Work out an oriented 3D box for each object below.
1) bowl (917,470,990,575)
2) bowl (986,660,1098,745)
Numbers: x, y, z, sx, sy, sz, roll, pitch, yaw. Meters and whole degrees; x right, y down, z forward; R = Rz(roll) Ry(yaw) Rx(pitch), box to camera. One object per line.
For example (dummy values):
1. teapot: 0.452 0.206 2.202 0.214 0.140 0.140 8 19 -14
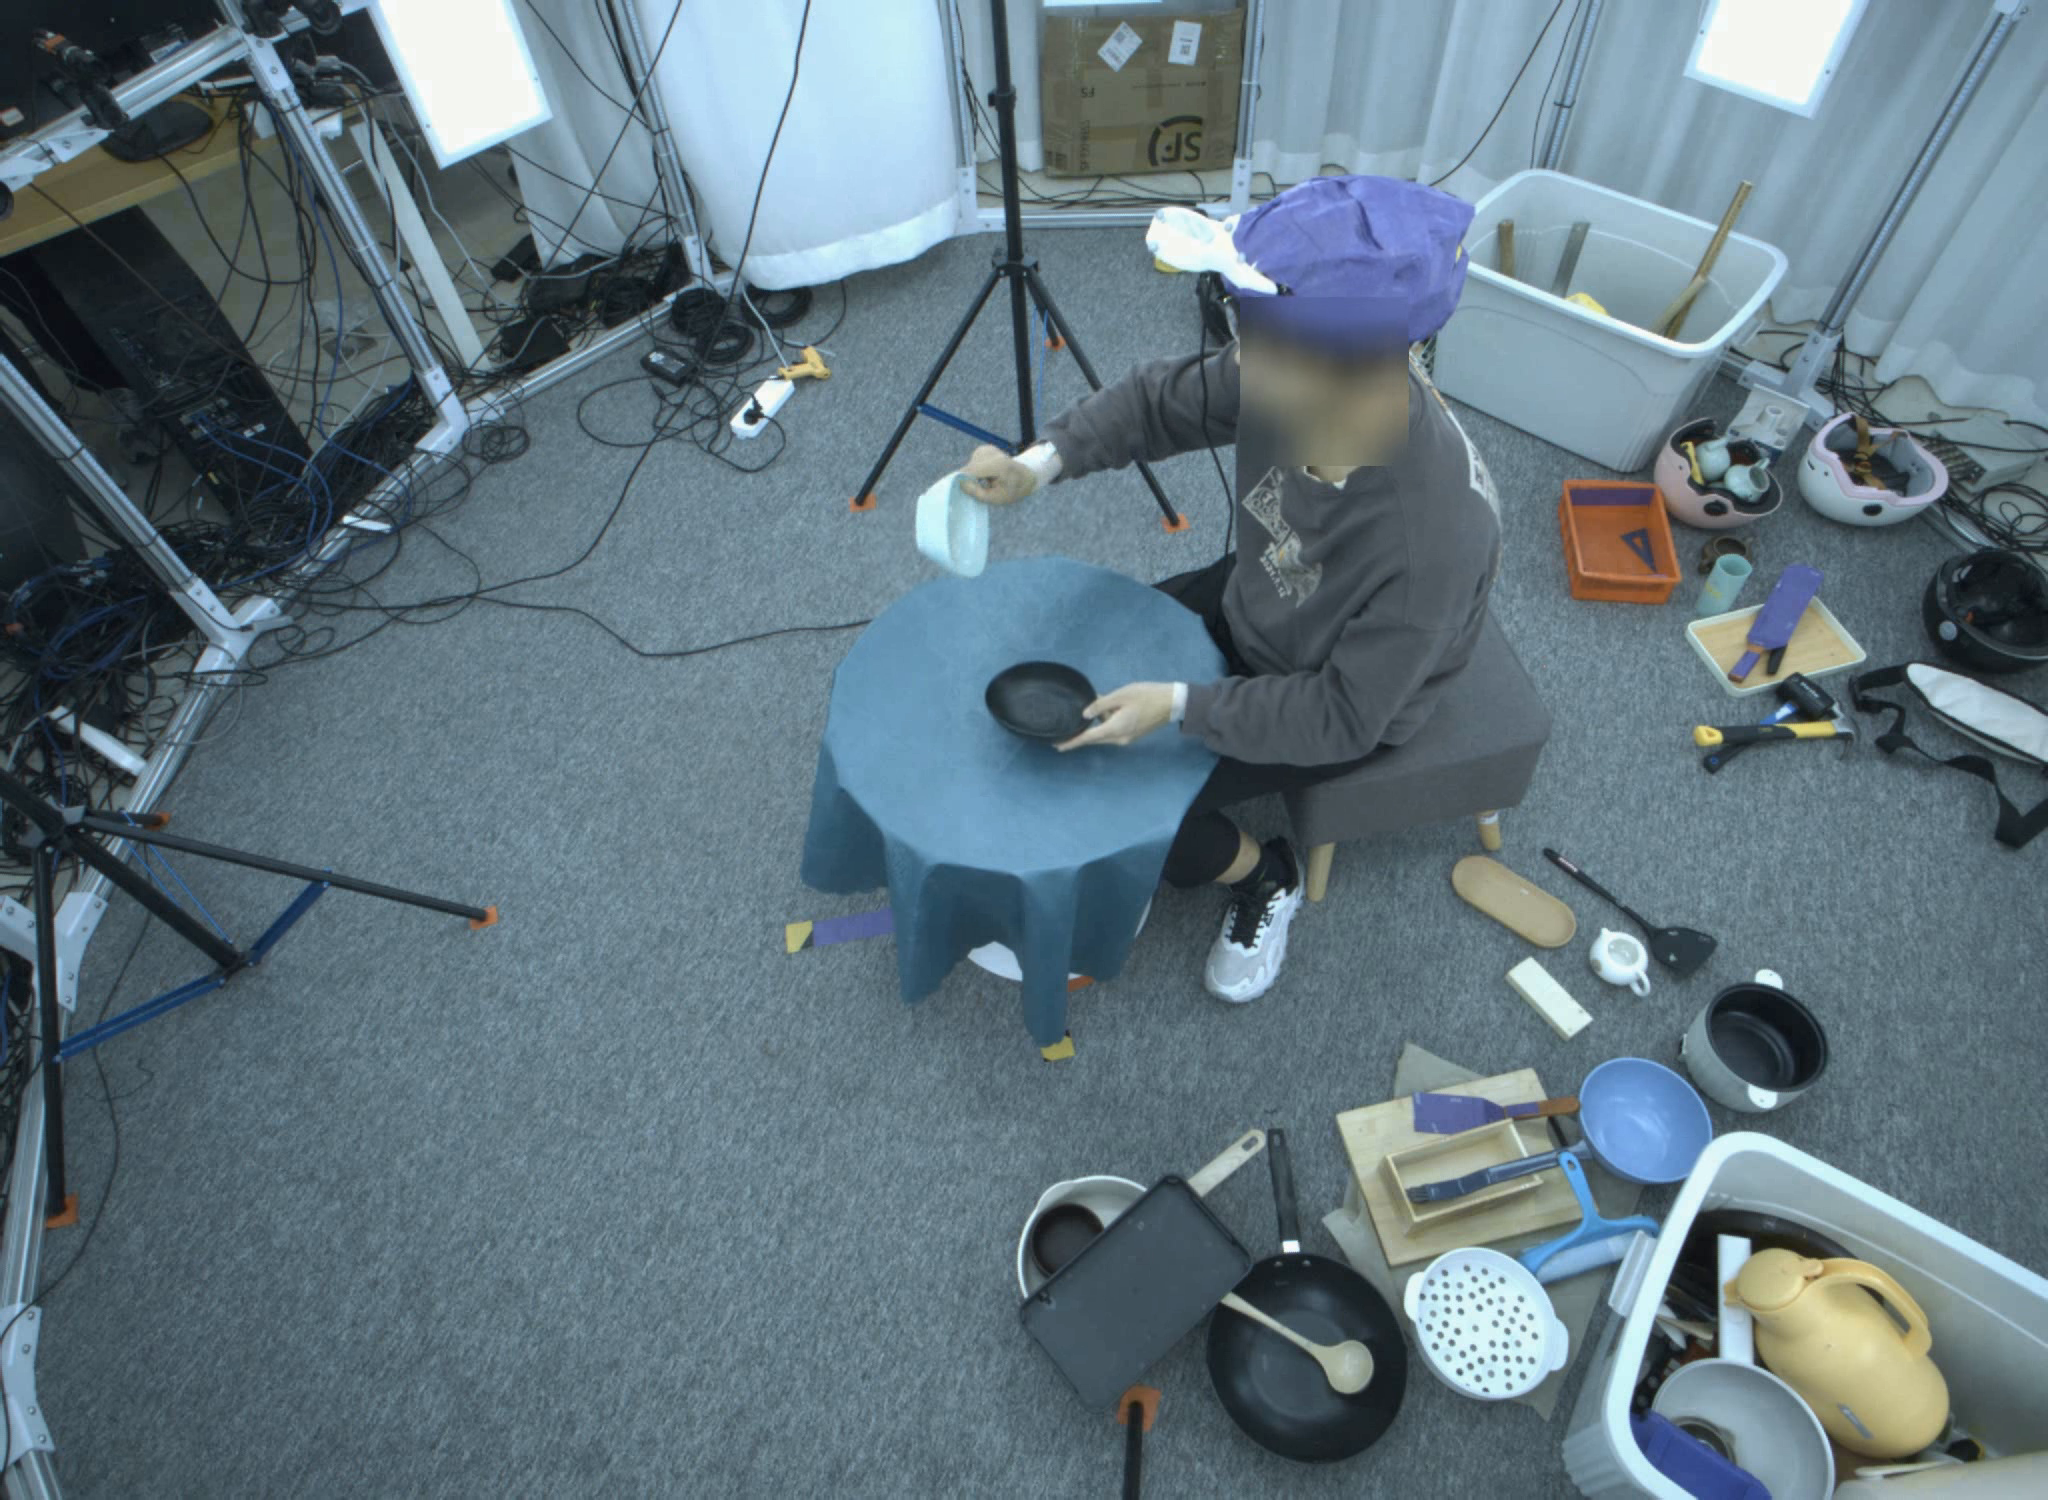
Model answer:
1. bowl: -0.100 -0.306 1.637 0.058 0.154 0.151 7 55 19
2. bowl: 0.025 -0.057 1.766 0.168 0.067 0.137 19 57 18
